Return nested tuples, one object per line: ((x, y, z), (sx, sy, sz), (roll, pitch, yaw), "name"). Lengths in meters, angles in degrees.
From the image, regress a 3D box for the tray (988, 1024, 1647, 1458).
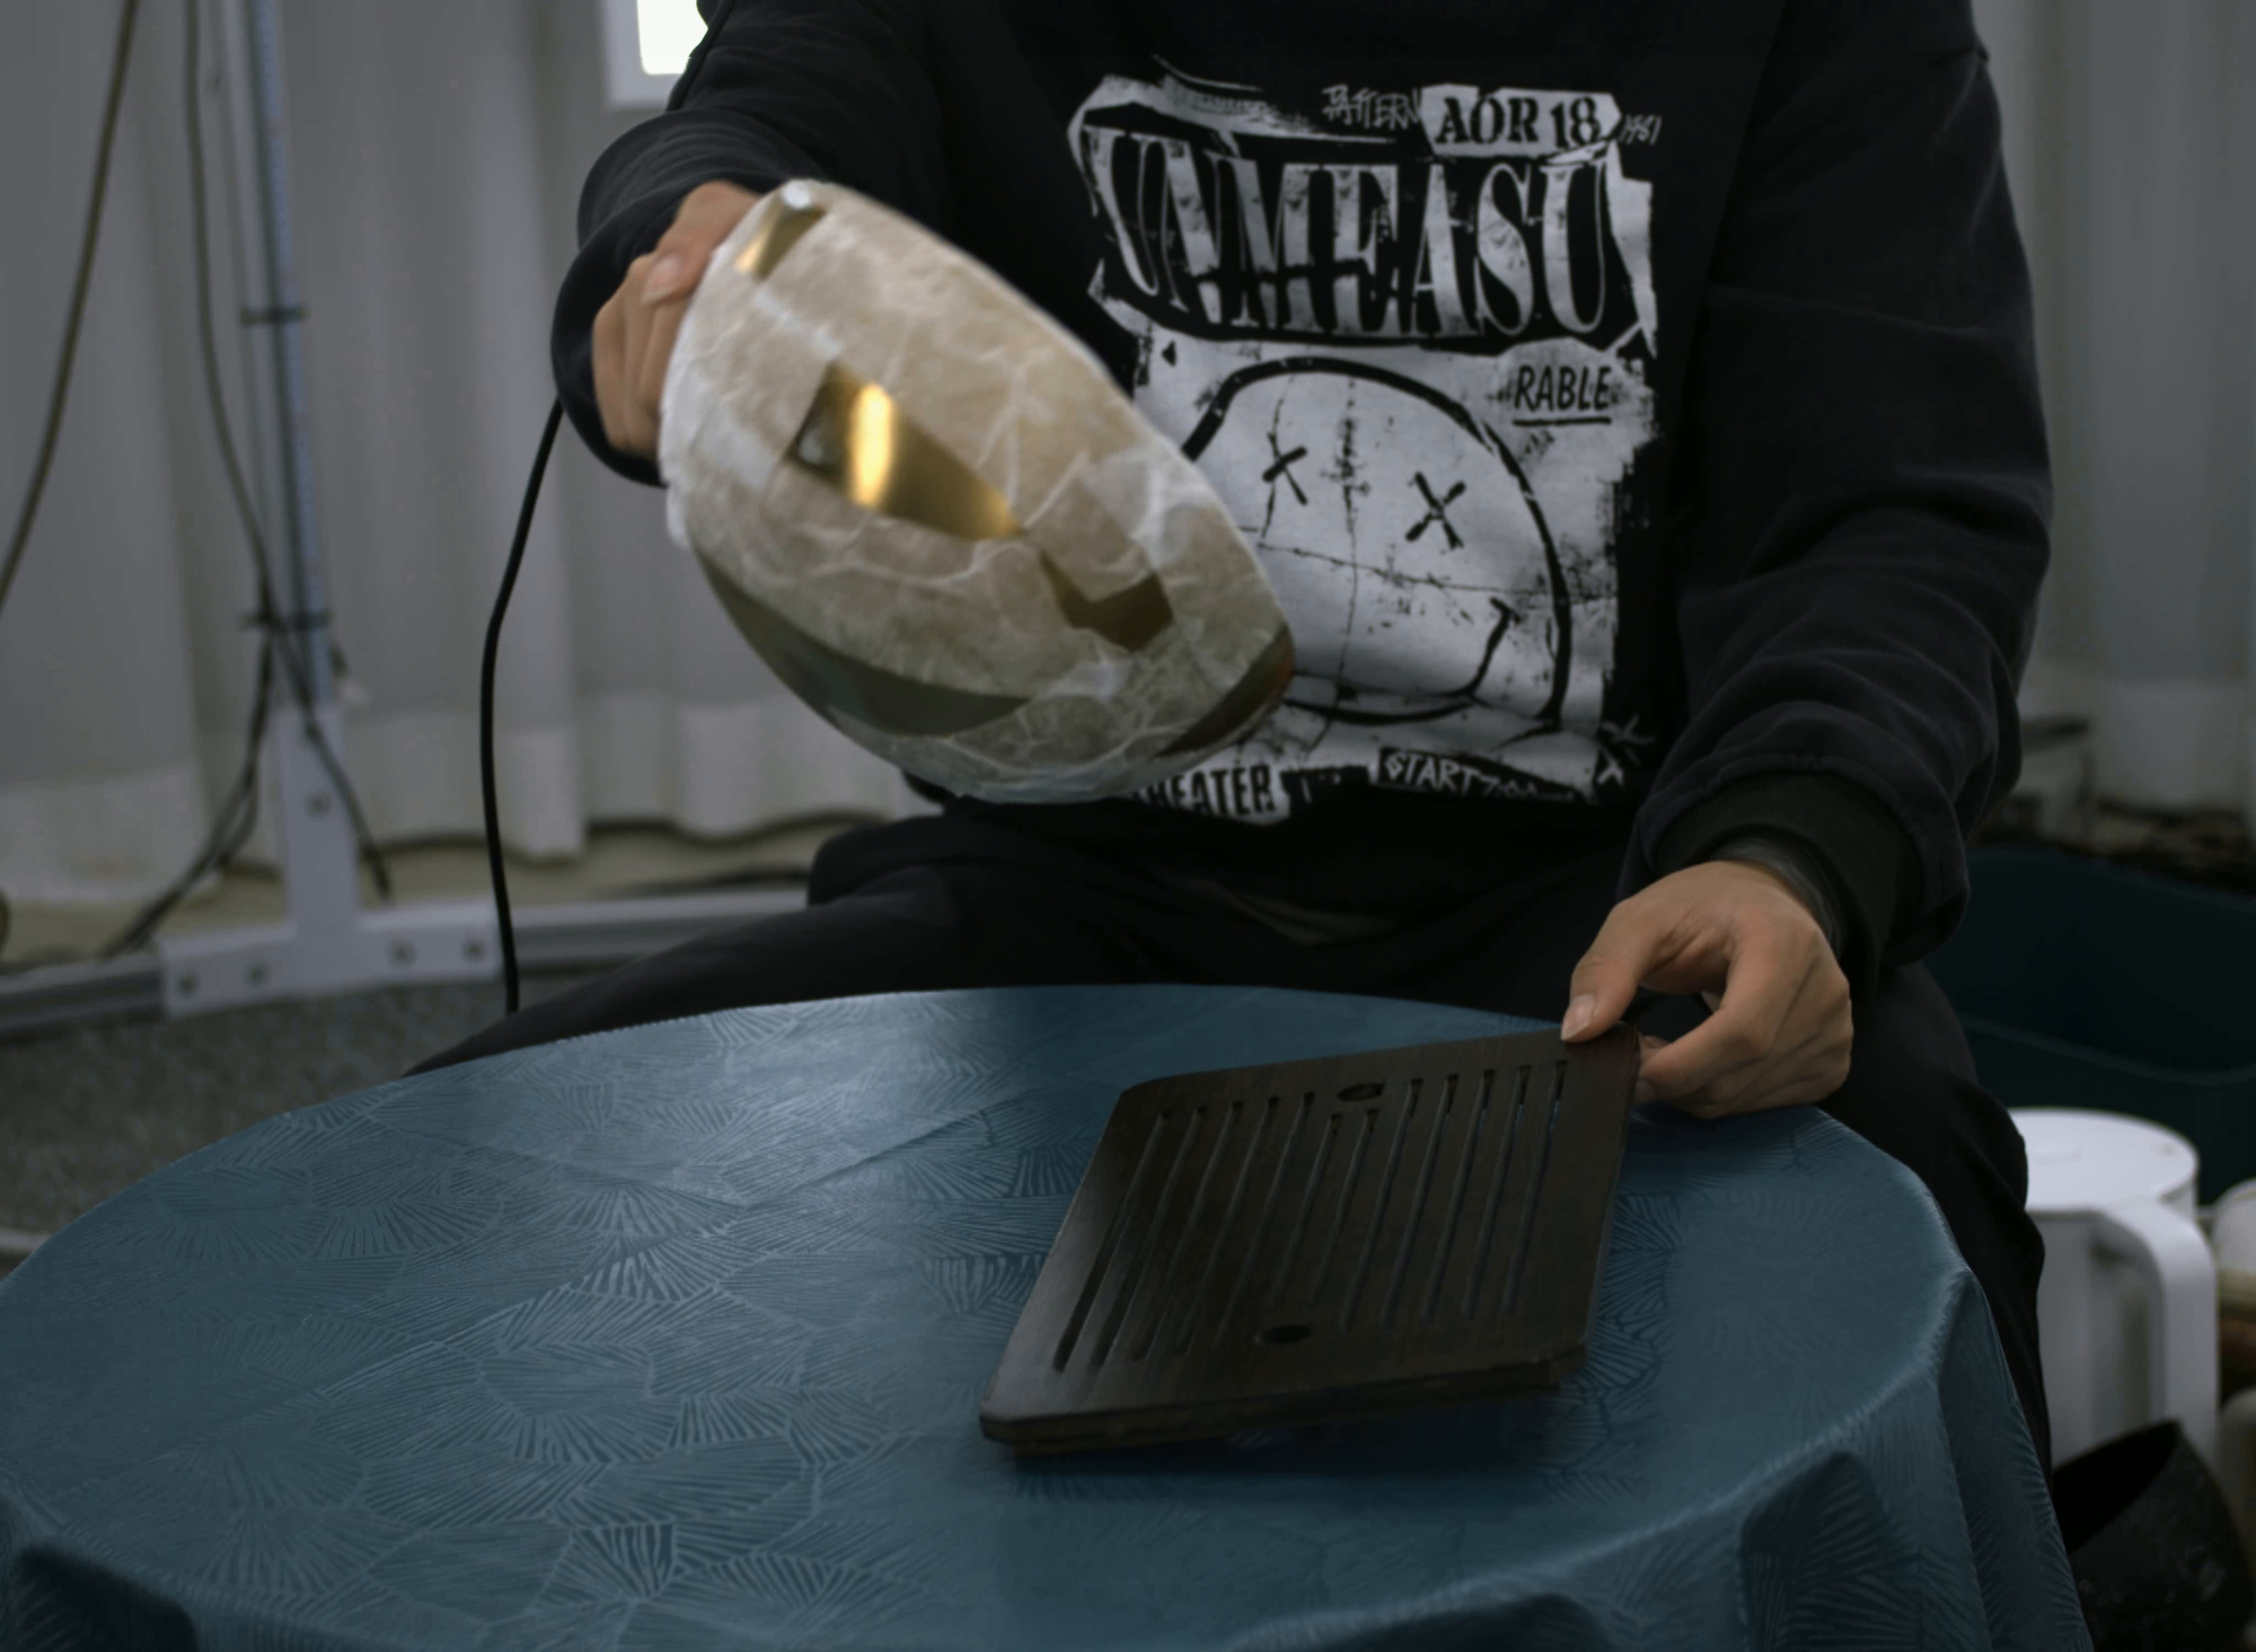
((0.064, 0.120, 1.613), (0.170, 0.018, 0.307), (-8, 14, 10), "tray")

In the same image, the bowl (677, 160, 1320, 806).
((-0.054, -0.074, 1.509), (0.095, 0.212, 0.216), (-46, 31, -16), "bowl")
